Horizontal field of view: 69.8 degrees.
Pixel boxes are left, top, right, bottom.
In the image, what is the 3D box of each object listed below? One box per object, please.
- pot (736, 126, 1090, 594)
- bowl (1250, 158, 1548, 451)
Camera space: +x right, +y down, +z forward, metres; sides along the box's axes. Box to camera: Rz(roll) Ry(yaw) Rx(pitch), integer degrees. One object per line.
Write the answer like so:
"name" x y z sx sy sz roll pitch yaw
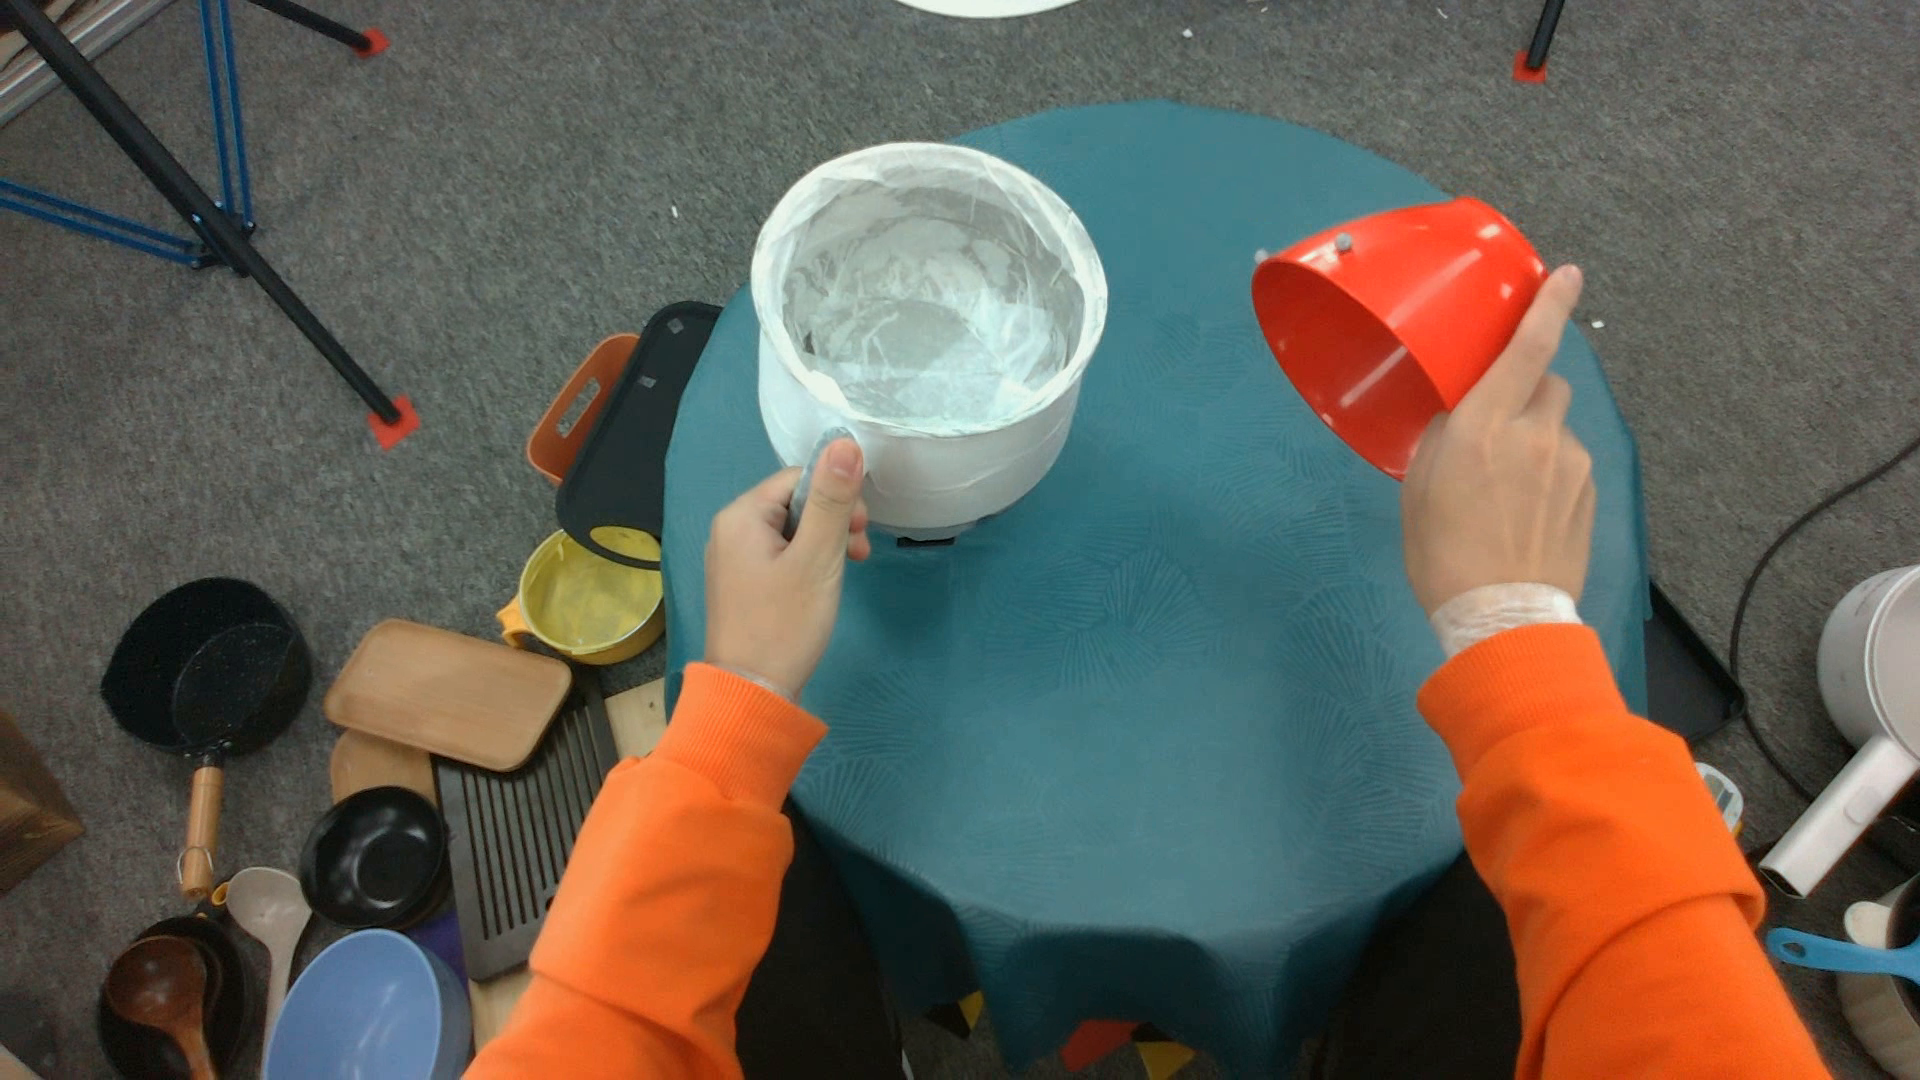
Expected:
"pot" -0.039 -0.086 0.726 0.178 0.136 0.234 22 64 5
"bowl" 0.228 -0.127 0.688 0.104 0.148 0.148 -45 65 10
